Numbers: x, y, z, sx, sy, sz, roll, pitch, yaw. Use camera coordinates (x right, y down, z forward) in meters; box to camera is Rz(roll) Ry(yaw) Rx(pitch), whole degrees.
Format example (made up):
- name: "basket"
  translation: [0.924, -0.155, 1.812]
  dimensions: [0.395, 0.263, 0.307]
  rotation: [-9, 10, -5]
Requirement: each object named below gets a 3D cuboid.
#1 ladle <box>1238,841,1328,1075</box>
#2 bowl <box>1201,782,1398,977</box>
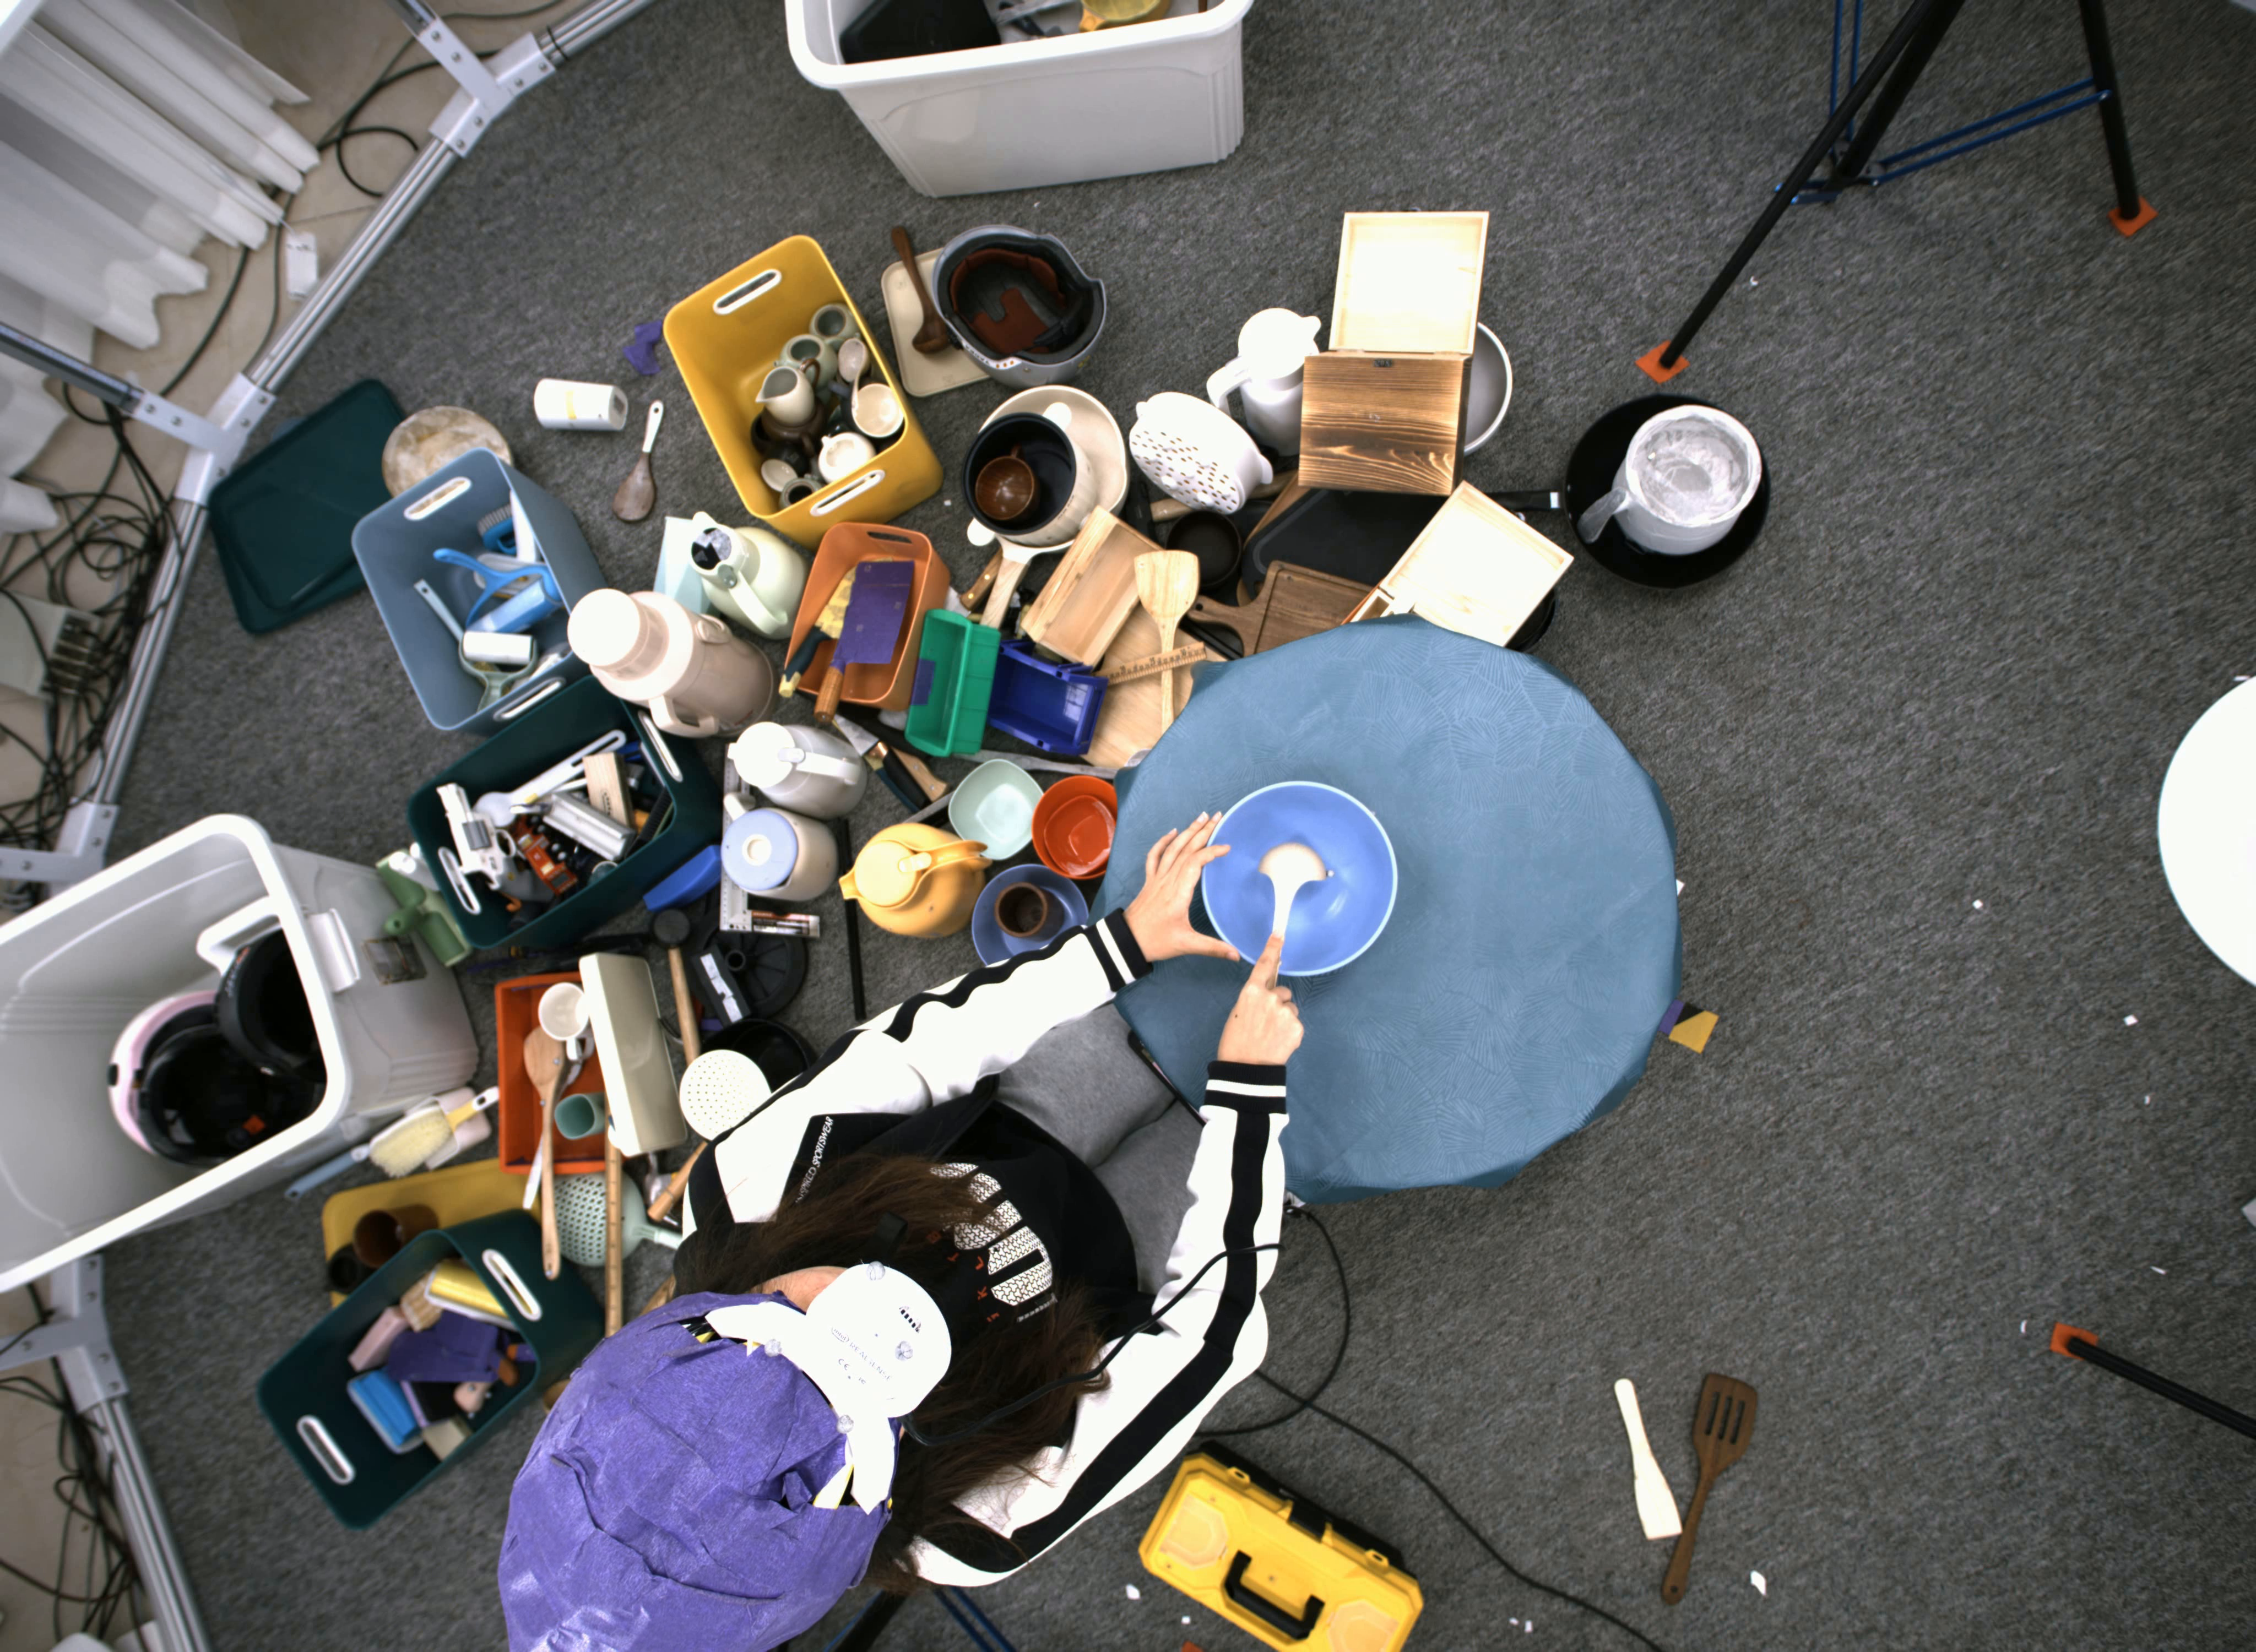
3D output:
- name: "ladle"
  translation: [0.147, 0.136, 1.401]
  dimensions: [0.072, 0.074, 0.250]
  rotation: [11, 72, 12]
- name: "bowl"
  translation: [0.178, 0.056, 1.434]
  dimensions: [0.197, 0.095, 0.196]
  rotation: [-1, 88, 10]
